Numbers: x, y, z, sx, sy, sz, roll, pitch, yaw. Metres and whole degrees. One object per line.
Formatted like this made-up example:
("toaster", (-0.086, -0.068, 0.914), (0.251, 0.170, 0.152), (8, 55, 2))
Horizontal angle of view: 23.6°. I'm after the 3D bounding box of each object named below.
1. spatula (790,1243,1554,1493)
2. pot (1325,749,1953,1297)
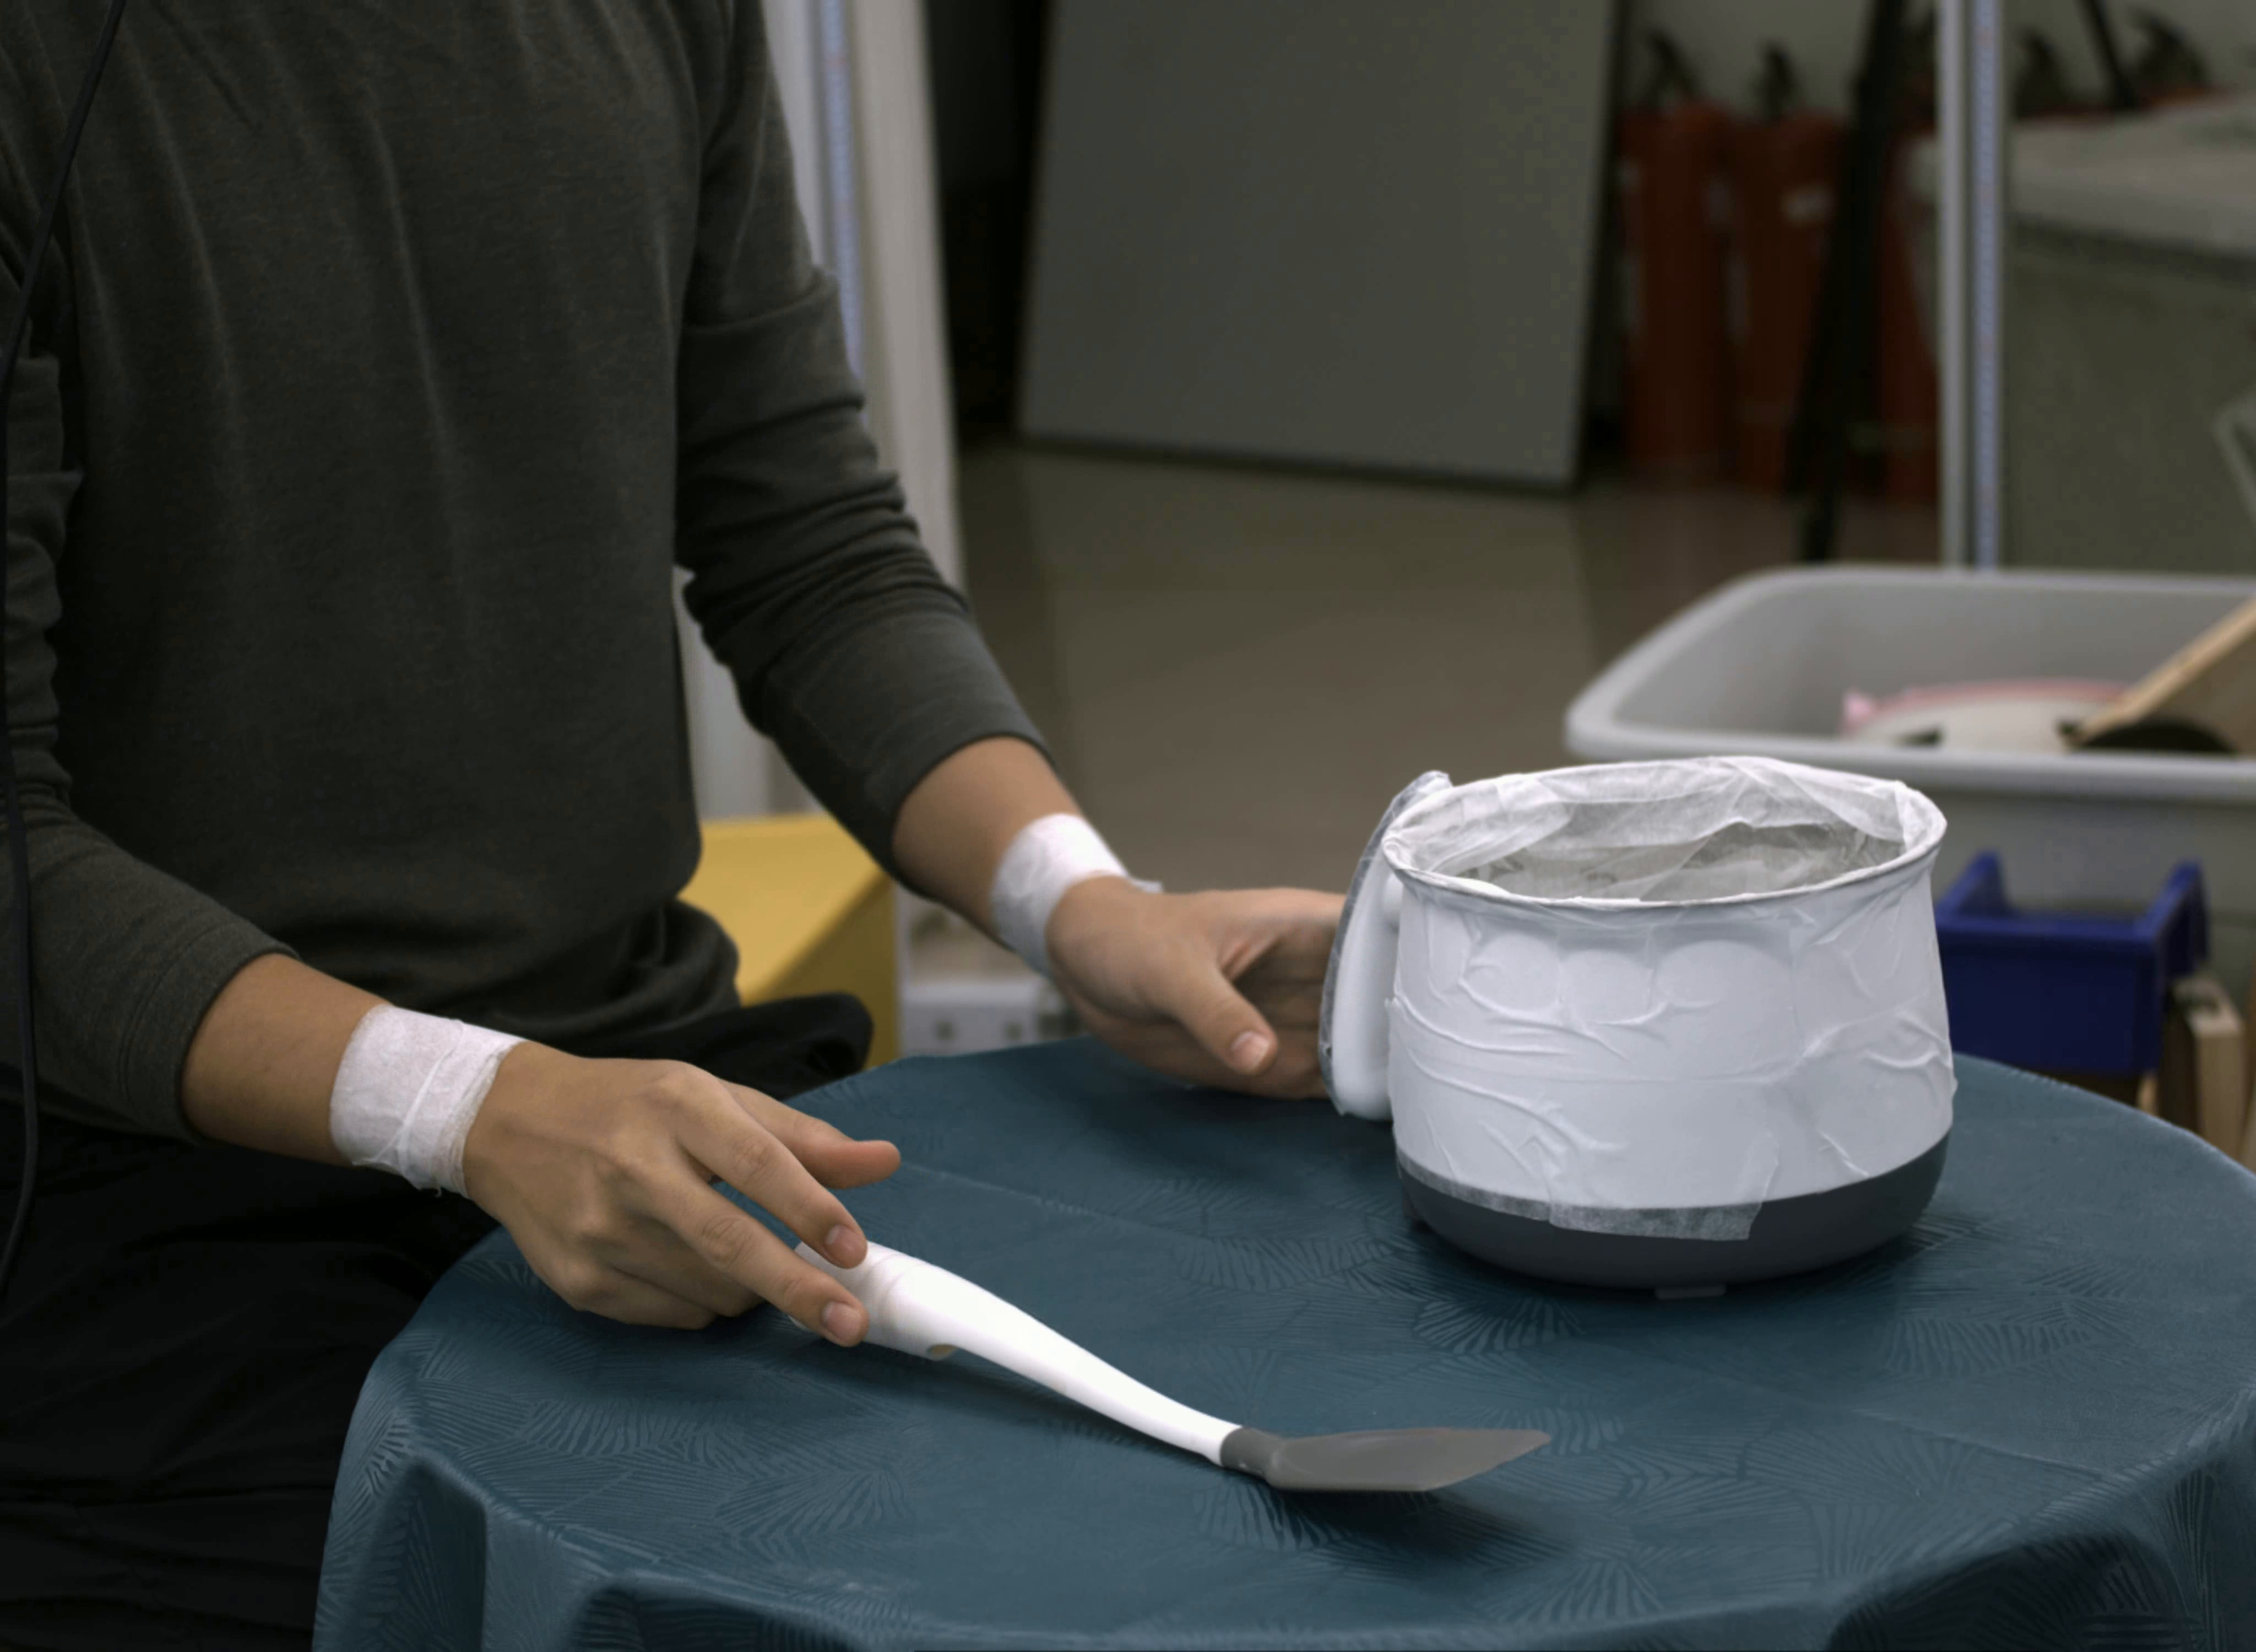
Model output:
("spatula", (0.005, 0.160, 1.542), (0.057, 0.032, 0.290), (-11, 14, -40))
("pot", (0.150, 0.056, 1.704), (0.175, 0.138, 0.236), (-15, 17, -41))
